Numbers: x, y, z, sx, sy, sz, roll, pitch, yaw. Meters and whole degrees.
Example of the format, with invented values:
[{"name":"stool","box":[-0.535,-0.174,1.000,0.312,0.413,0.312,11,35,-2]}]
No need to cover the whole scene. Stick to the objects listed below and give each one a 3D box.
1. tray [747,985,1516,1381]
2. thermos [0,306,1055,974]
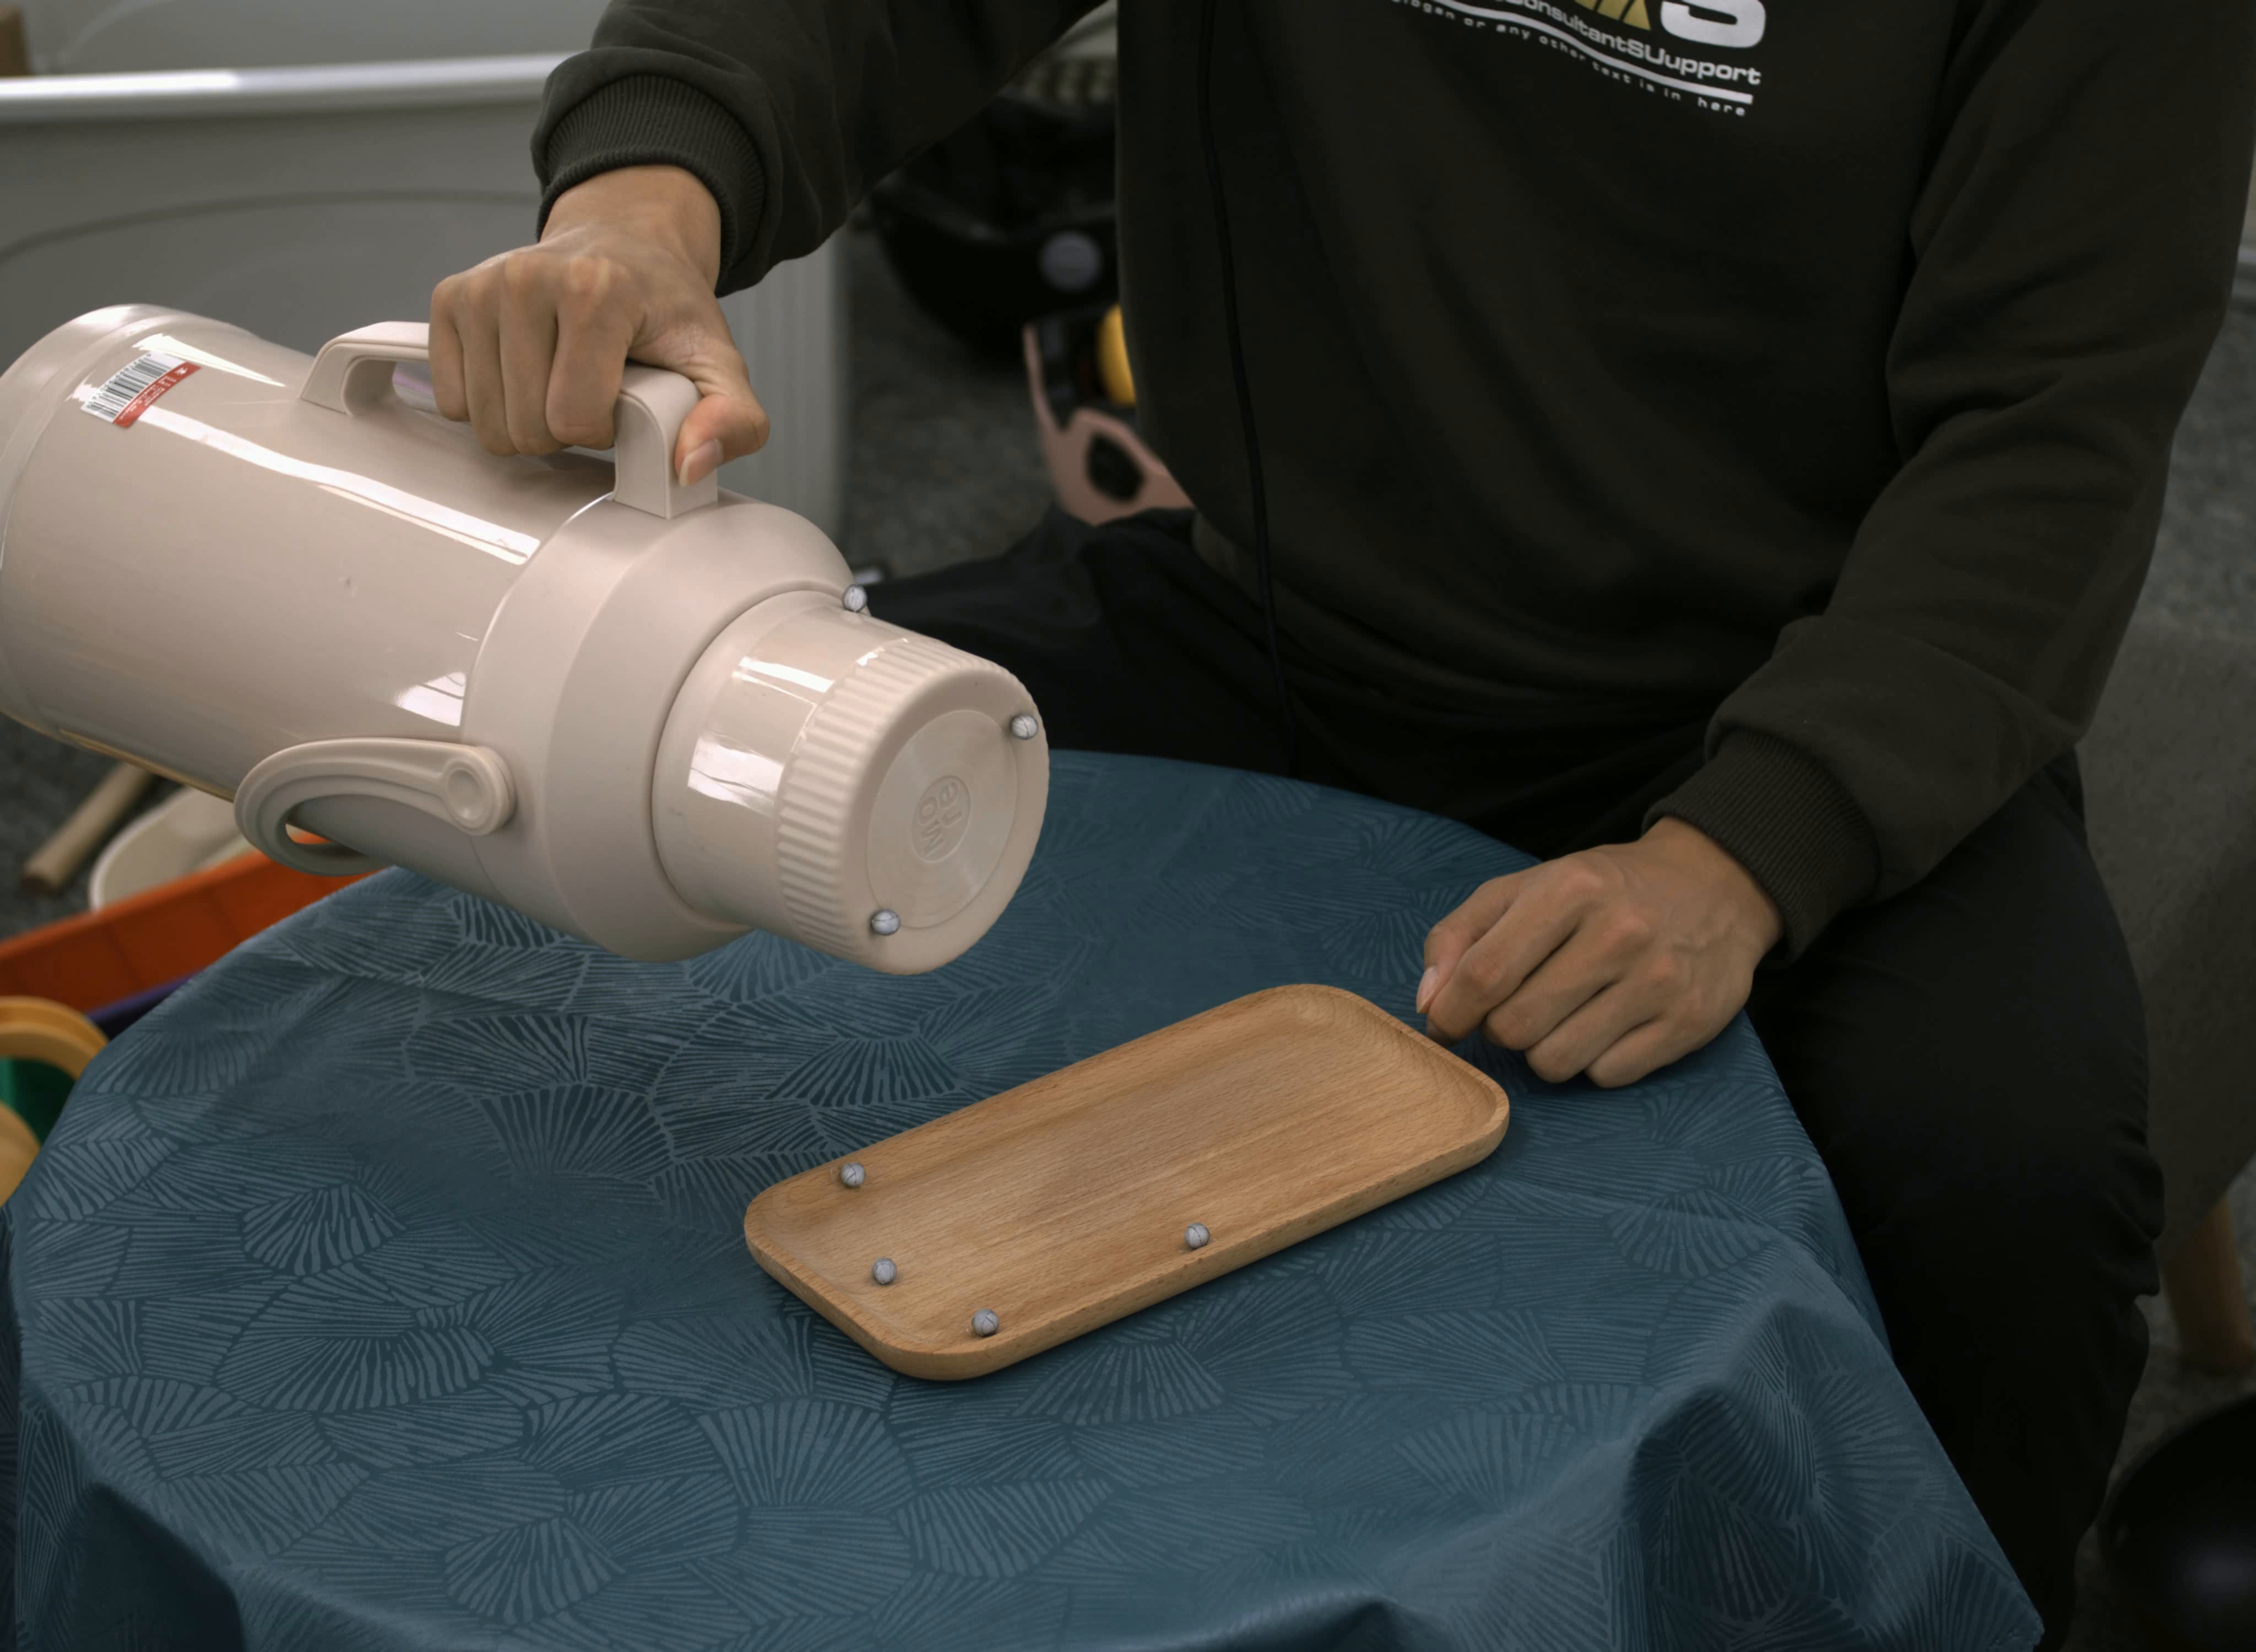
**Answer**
[{"name":"tray","box":[0.002,0.116,1.858,0.253,0.022,0.131,-19,34,-30]},{"name":"thermos","box":[-0.208,-0.069,1.889,0.405,0.205,0.177,19,29,37]}]
